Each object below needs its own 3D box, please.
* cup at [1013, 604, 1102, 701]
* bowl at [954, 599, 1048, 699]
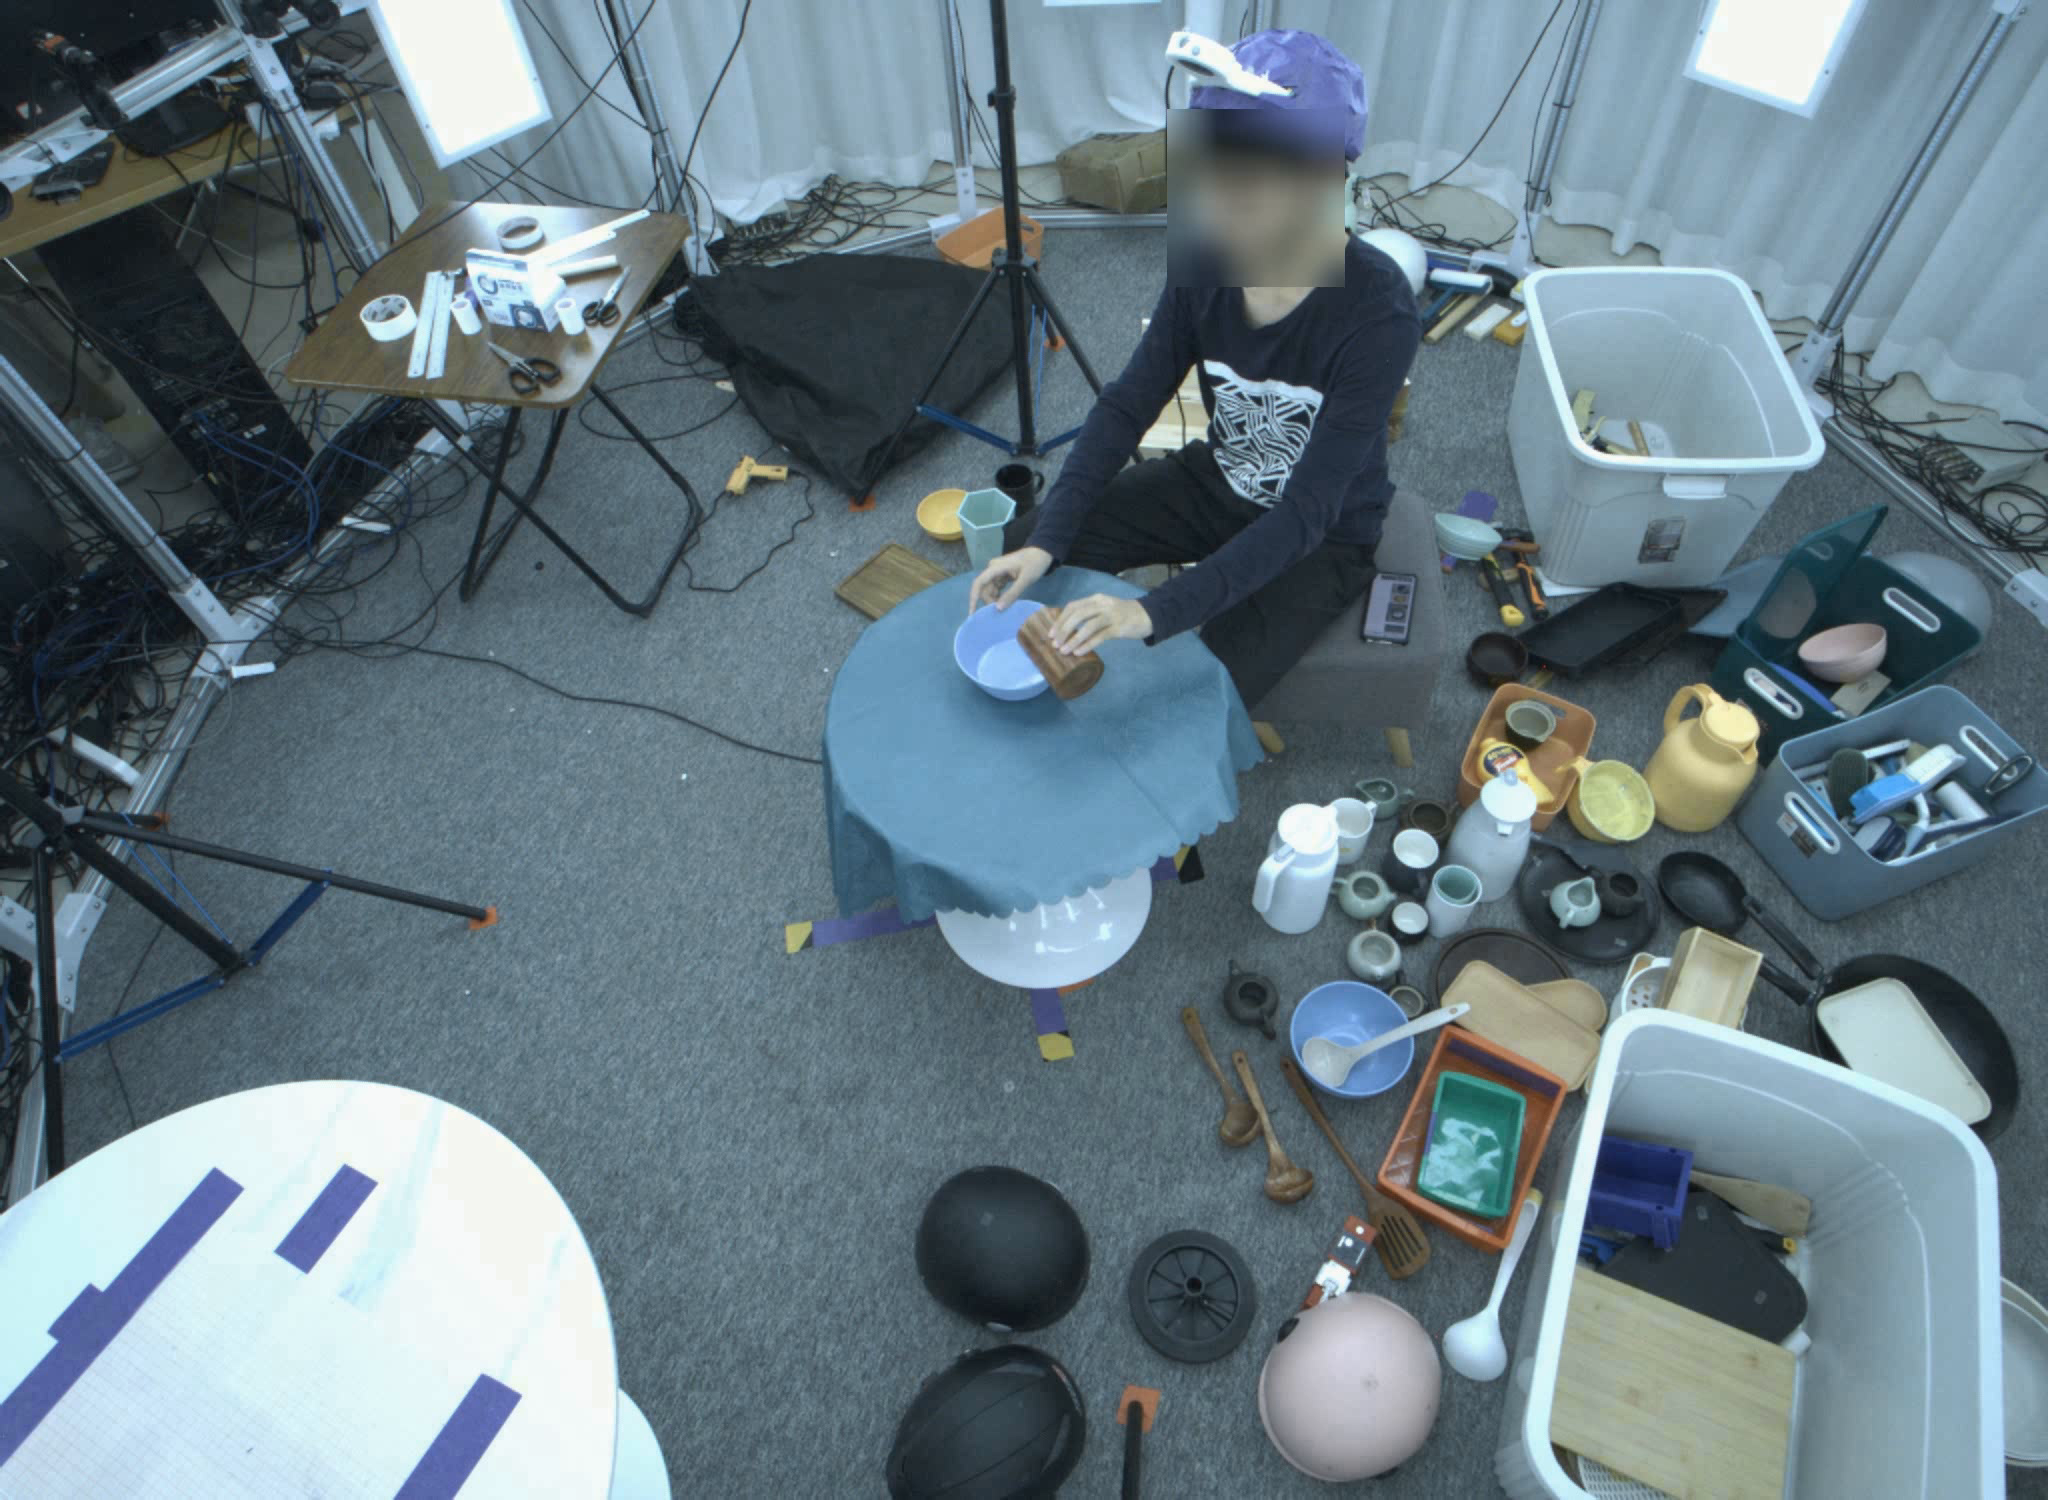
[{"bbox_3d":[0.046,-0.137,1.736,0.088,0.088,0.116,-26,60,-14],"label":"cup"},{"bbox_3d":[-0.014,-0.141,1.838,0.176,0.071,0.174,0,54,1],"label":"bowl"}]
